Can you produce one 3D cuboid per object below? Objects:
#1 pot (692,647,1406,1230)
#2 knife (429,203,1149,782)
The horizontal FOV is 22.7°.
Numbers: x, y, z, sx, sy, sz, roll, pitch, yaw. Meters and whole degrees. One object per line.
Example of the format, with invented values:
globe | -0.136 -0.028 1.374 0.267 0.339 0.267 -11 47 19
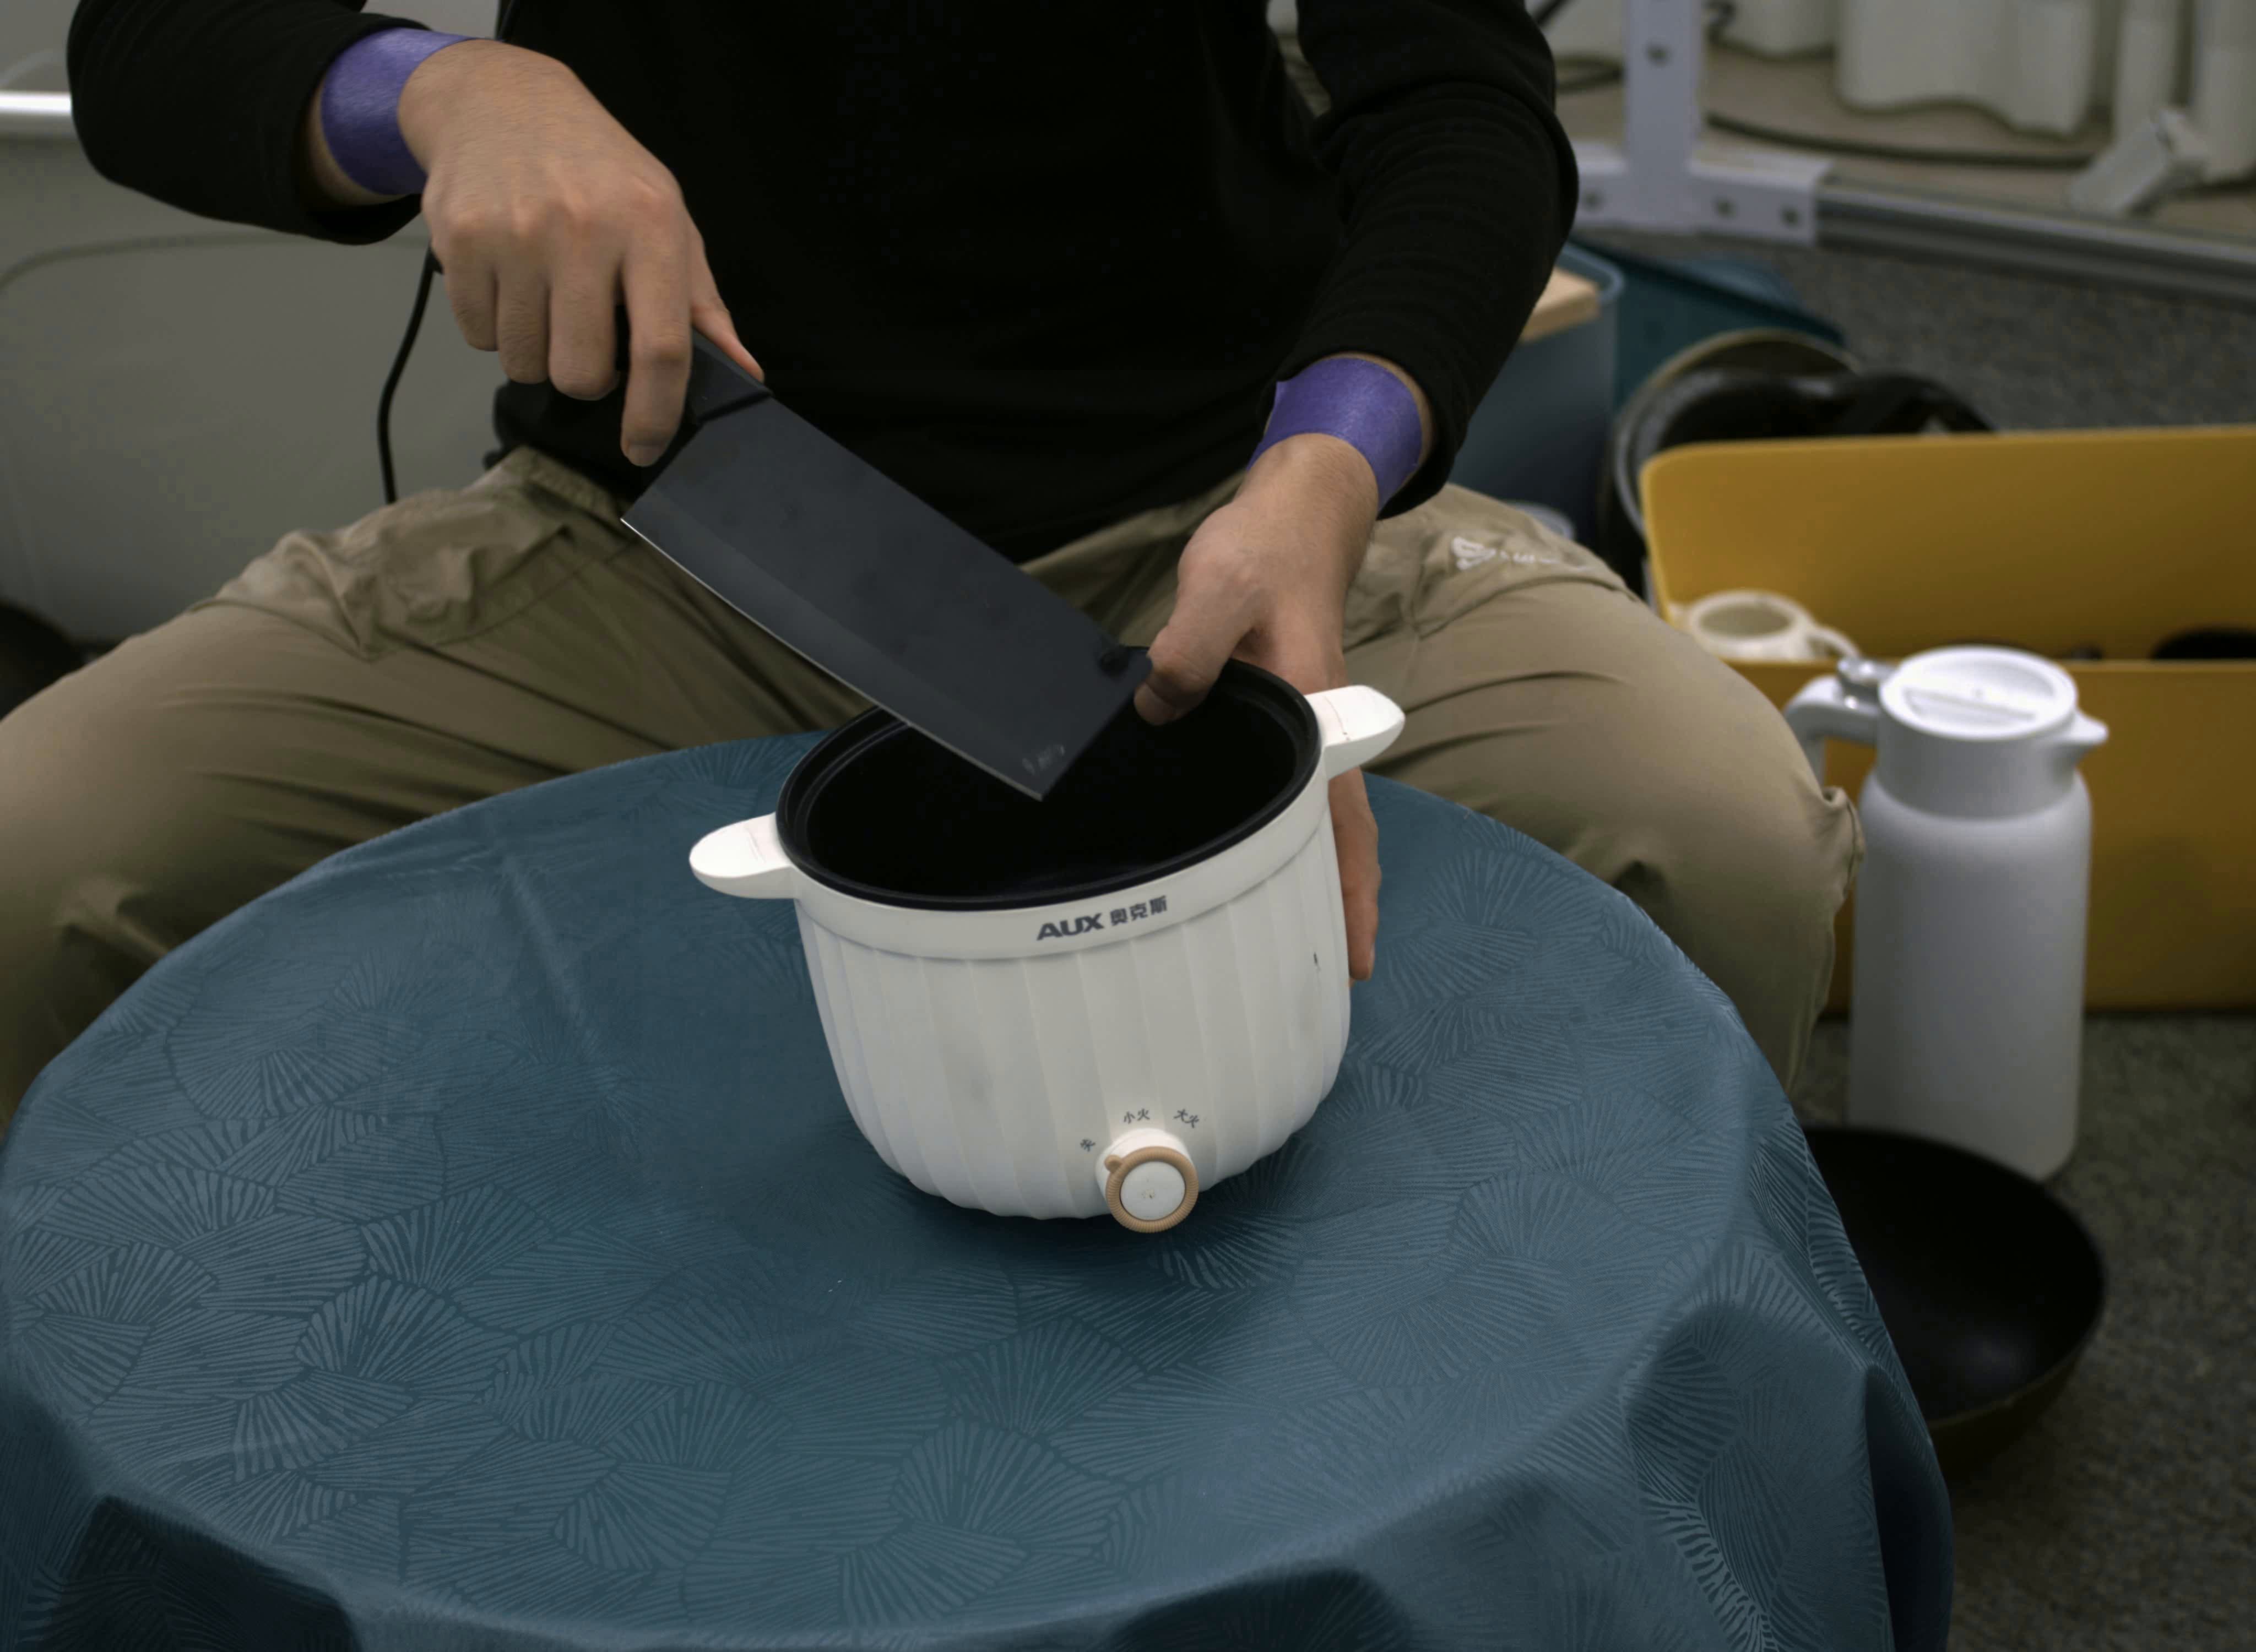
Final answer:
pot | -0.014 0.042 1.854 0.240 0.141 0.192 -14 22 -7
knife | -0.122 -0.116 1.864 0.303 0.020 0.081 40 75 23
